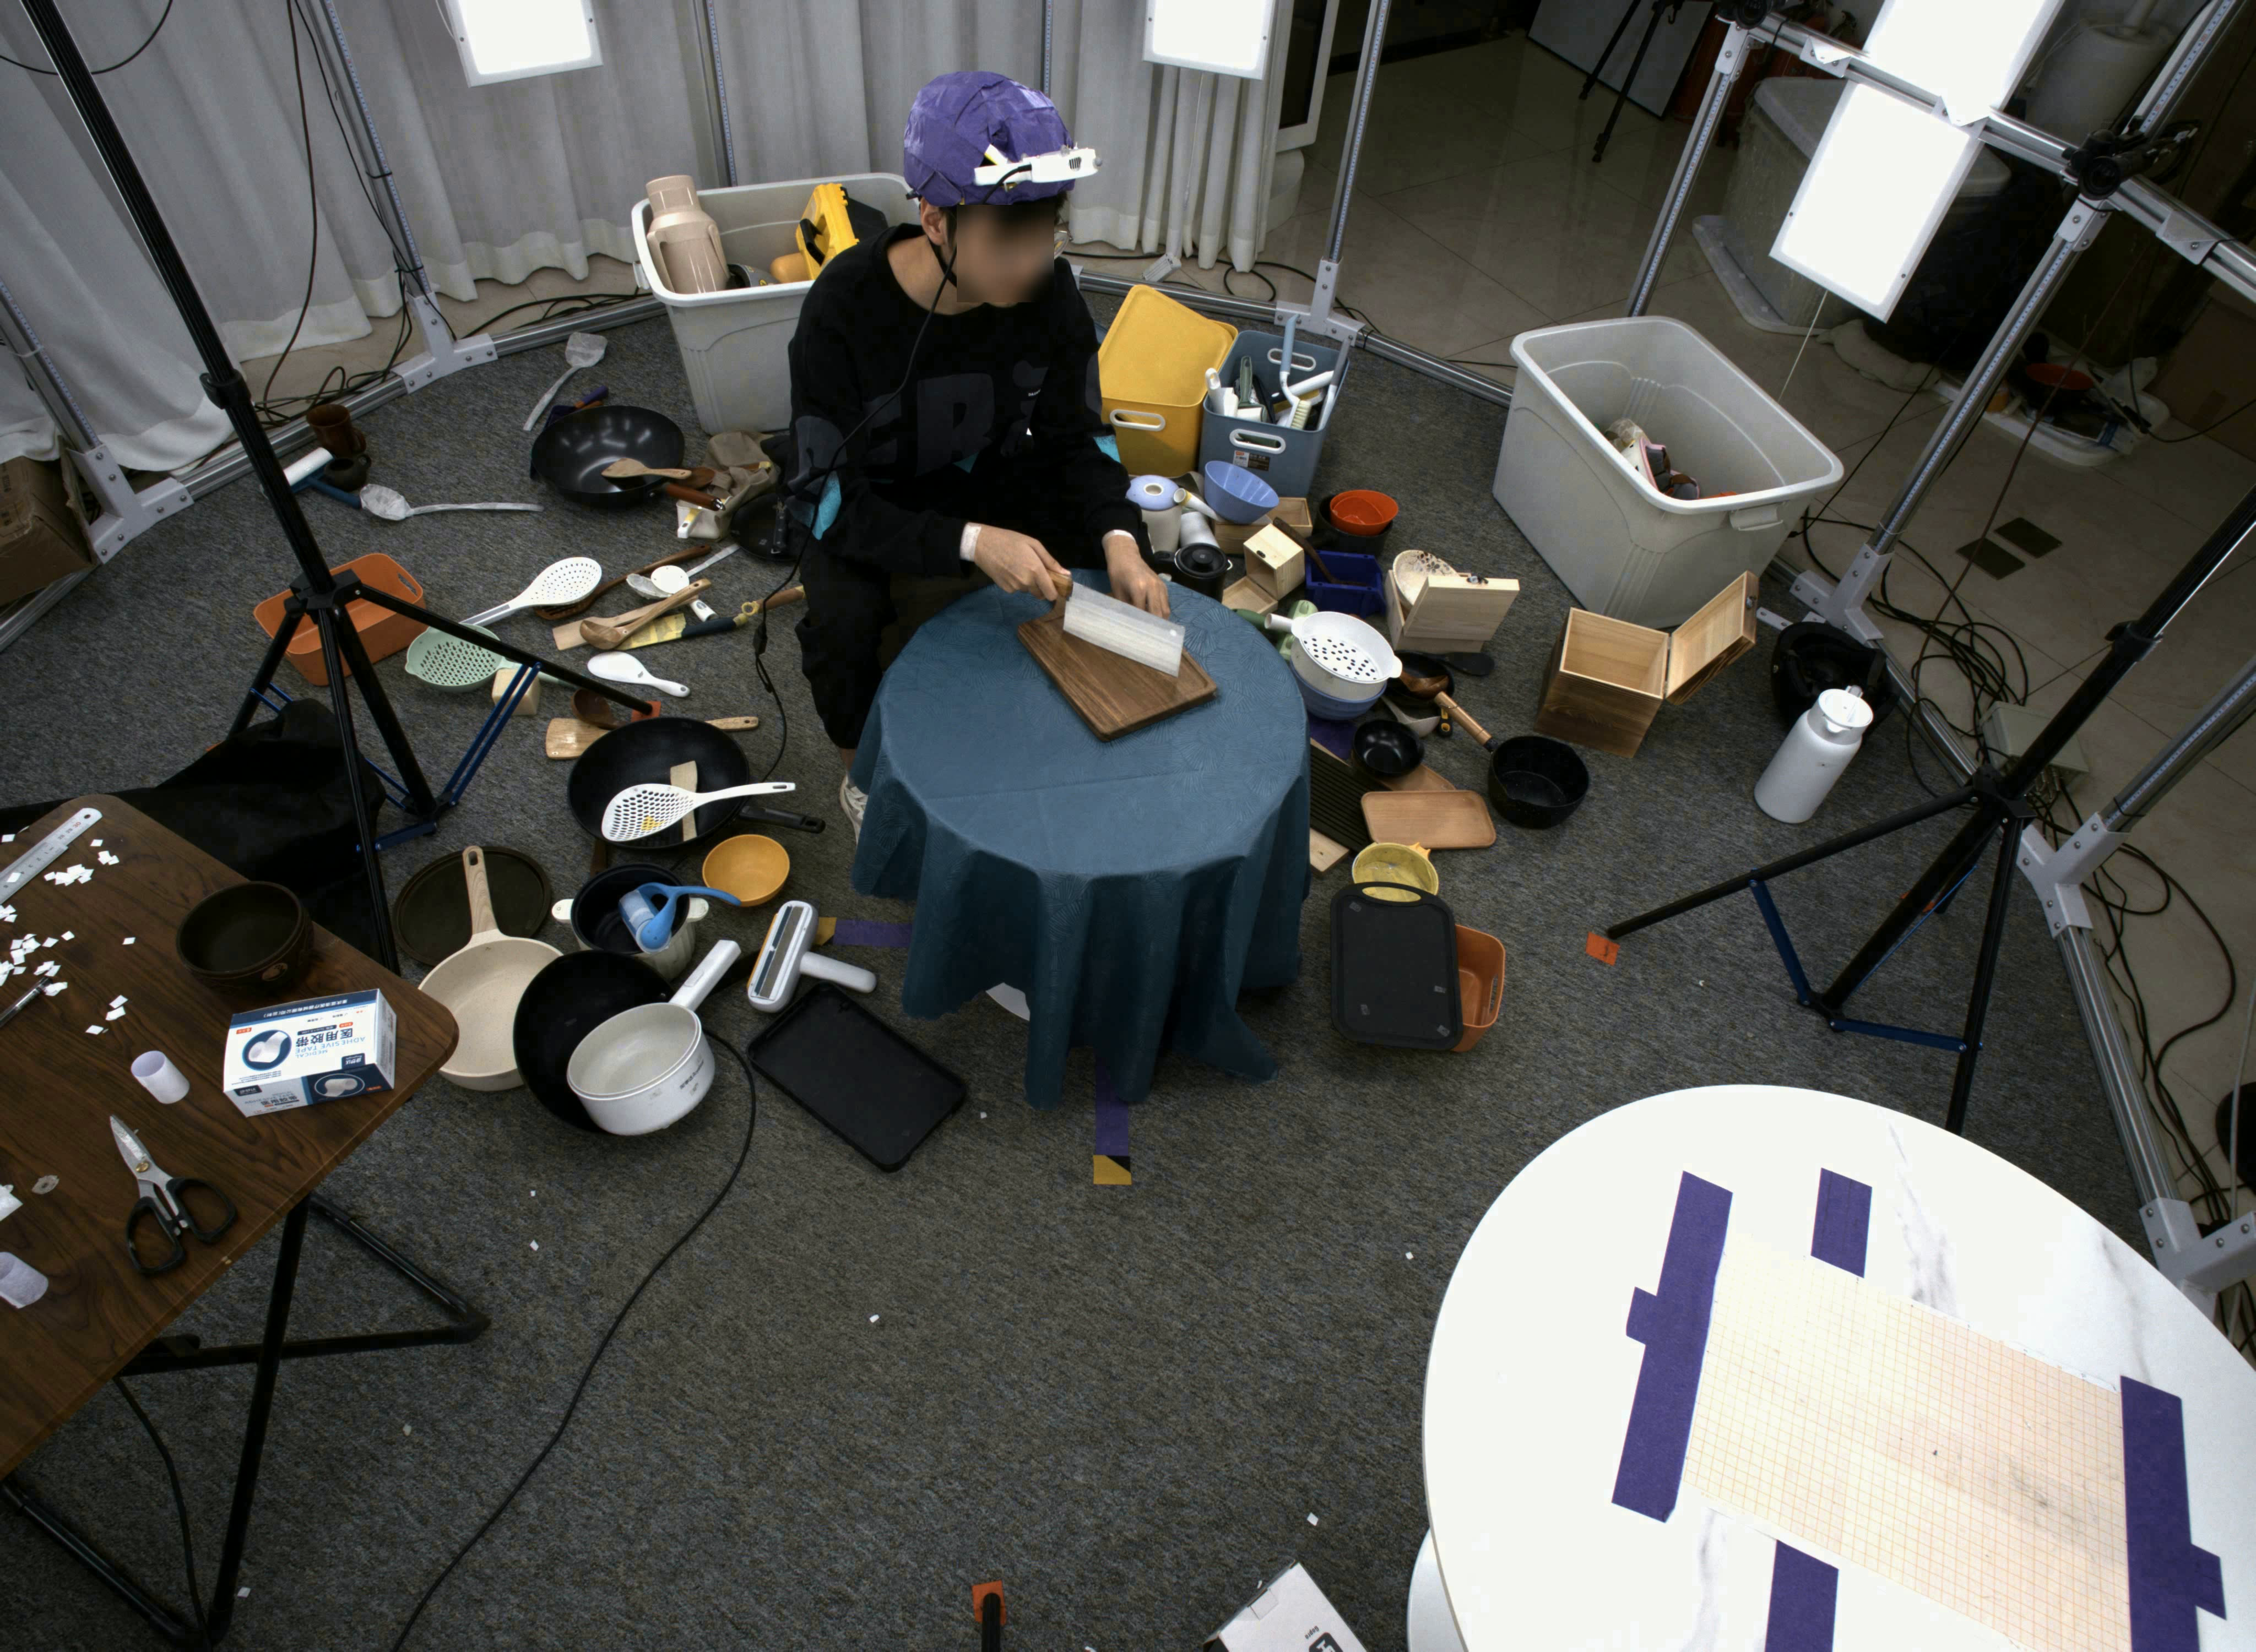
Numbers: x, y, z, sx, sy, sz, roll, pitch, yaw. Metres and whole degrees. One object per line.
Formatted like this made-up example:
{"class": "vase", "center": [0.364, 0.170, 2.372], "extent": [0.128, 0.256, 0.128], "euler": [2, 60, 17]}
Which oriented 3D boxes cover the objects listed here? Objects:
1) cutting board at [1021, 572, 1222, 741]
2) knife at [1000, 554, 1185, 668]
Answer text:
{"class": "cutting board", "center": [-0.037, -0.270, 1.892], "extent": [0.202, 0.022, 0.359], "euler": [-22, 52, -22]}
{"class": "knife", "center": [-0.054, -0.306, 1.847], "extent": [0.308, 0.091, 0.021], "euler": [25, 47, 18]}
